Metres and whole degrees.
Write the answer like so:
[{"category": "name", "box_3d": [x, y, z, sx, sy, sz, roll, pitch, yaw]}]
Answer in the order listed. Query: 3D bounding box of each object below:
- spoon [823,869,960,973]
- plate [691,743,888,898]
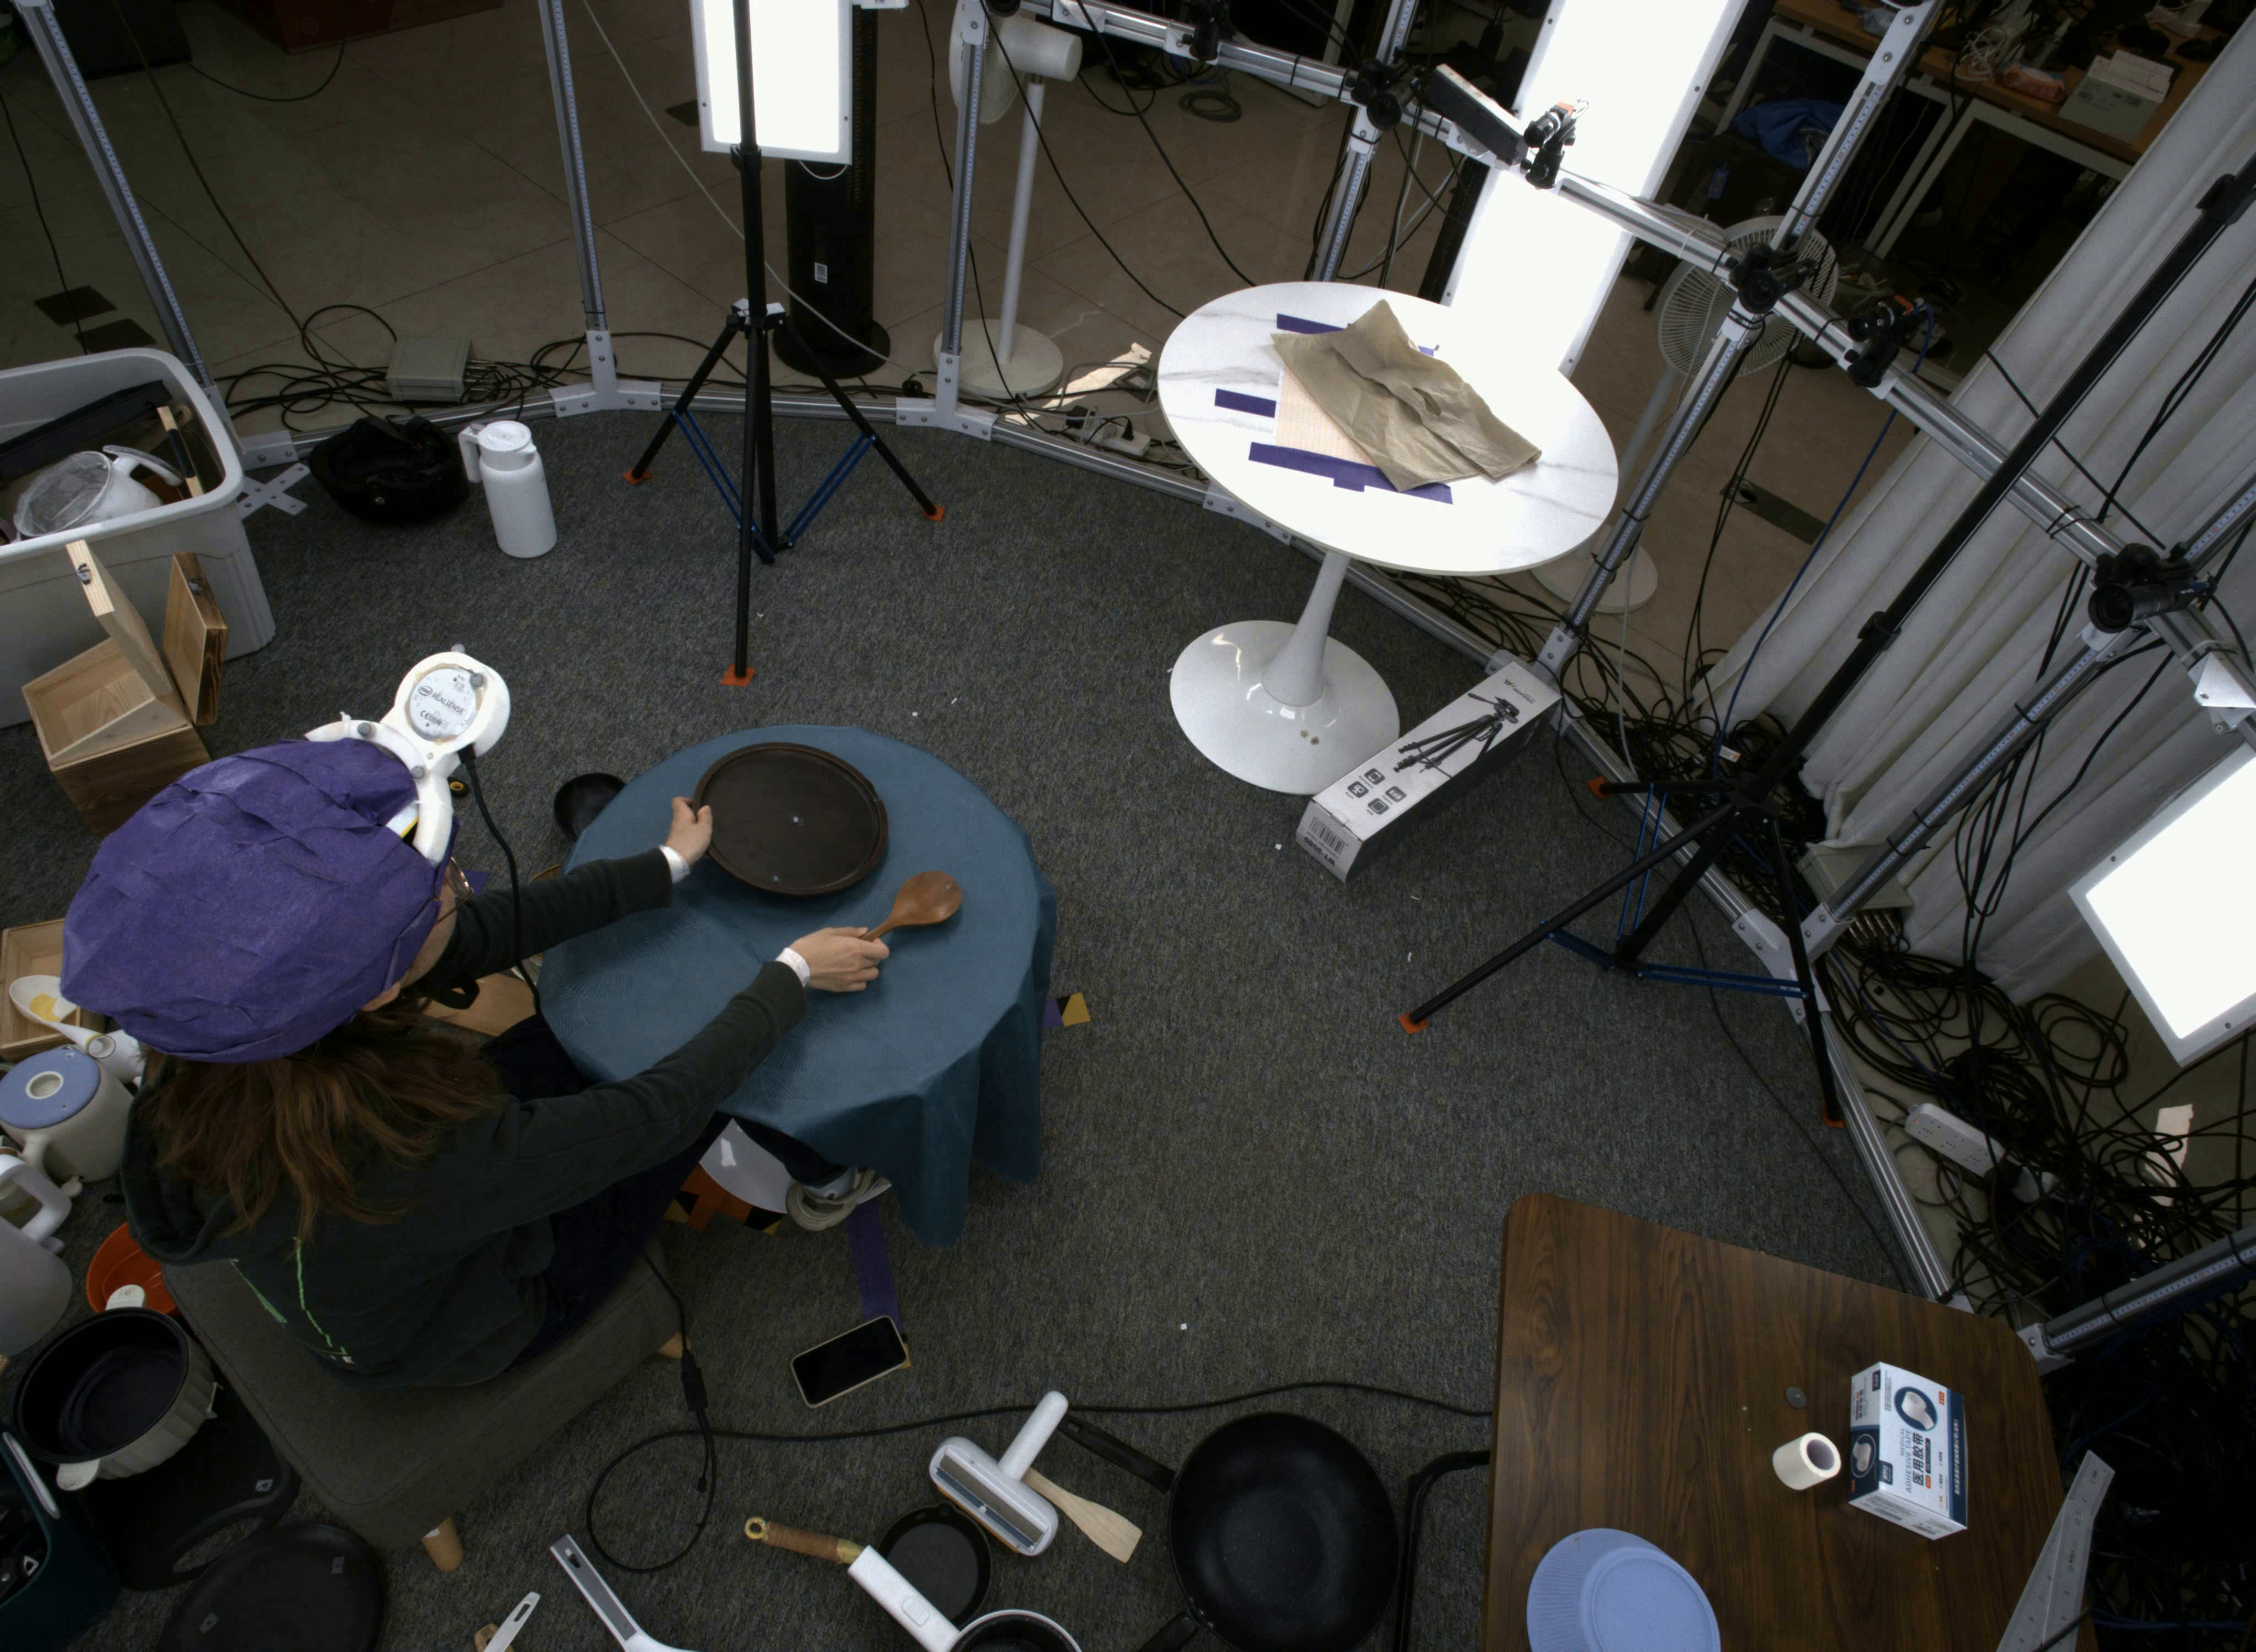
[{"category": "spoon", "box_3d": [-0.297, 0.120, 1.632, 0.074, 0.017, 0.216, 45, 49, 10]}, {"category": "plate", "box_3d": [-0.439, -0.010, 1.688, 0.256, 0.029, 0.250, 16, 46, -15]}]
